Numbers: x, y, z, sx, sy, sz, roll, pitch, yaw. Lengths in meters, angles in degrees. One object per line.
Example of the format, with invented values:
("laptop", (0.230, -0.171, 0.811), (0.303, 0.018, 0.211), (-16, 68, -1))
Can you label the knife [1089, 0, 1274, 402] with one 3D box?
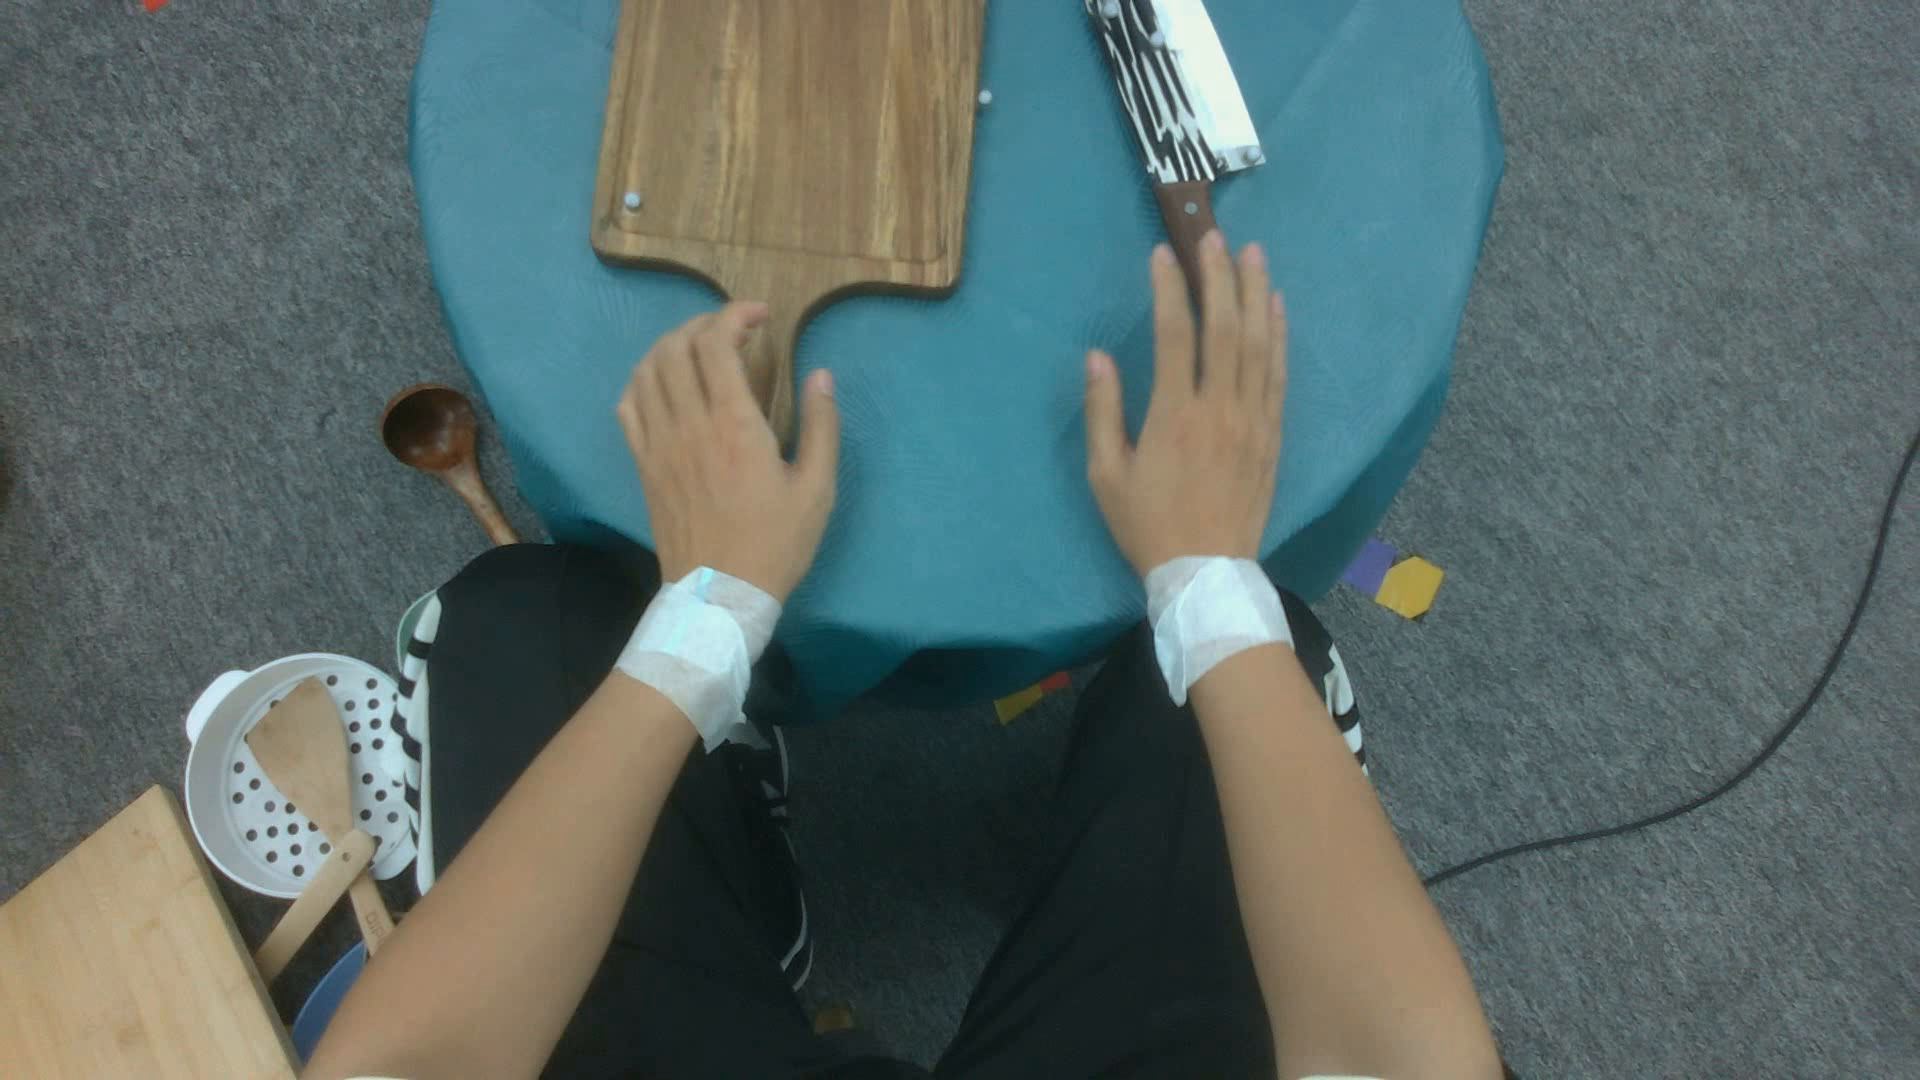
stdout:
("knife", (0.133, -0.220, 0.779), (0.068, 0.024, 0.300), (-15, 76, -7))

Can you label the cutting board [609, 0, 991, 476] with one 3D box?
("cutting board", (-0.089, -0.208, 0.767), (0.201, 0.023, 0.353), (4, 78, -1))
